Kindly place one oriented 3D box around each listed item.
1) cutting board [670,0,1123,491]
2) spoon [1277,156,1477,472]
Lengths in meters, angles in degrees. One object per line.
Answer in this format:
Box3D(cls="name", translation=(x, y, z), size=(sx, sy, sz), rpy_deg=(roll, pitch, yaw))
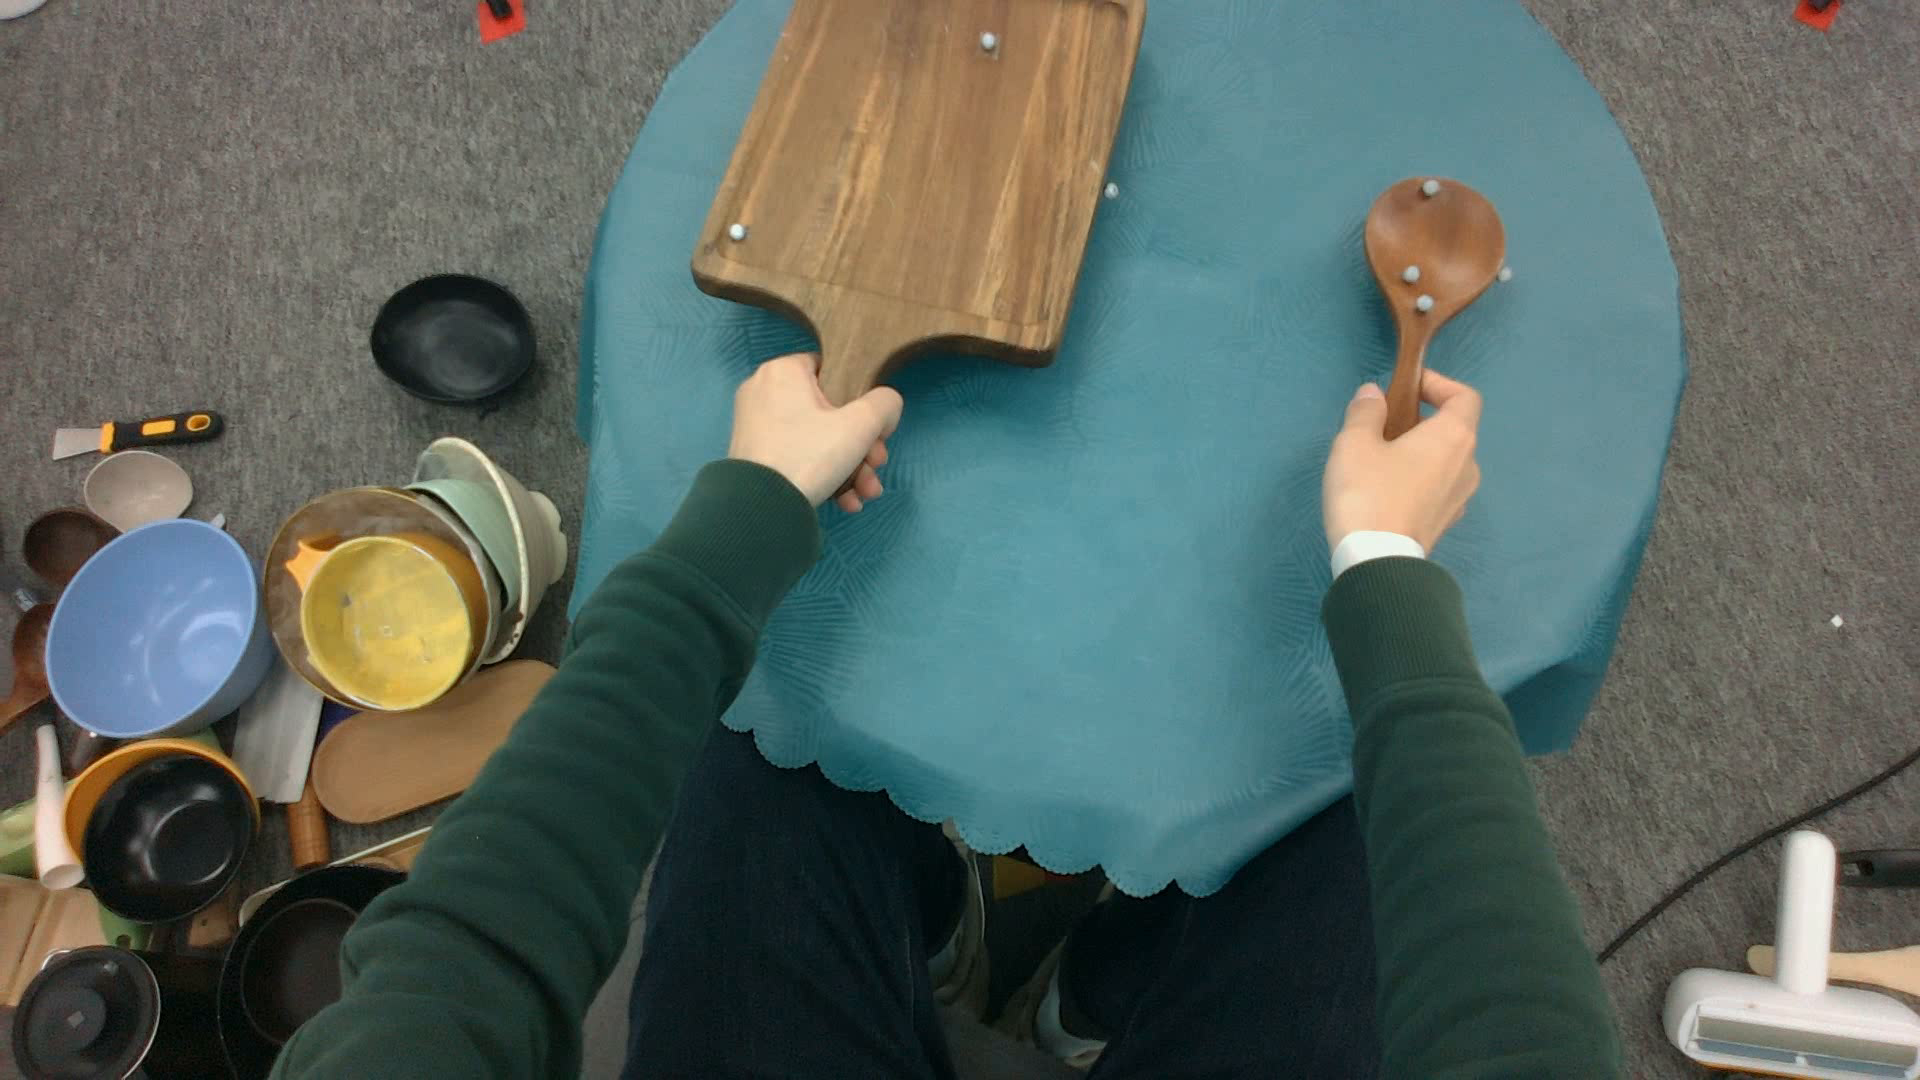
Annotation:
Box3D(cls="cutting board", translation=(-0.039, -0.183, 0.737), size=(0.201, 0.023, 0.353), rpy_deg=(14, 65, 4))
Box3D(cls="spoon", translation=(0.212, -0.122, 0.721), size=(0.075, 0.017, 0.217), rpy_deg=(23, 64, 13))
